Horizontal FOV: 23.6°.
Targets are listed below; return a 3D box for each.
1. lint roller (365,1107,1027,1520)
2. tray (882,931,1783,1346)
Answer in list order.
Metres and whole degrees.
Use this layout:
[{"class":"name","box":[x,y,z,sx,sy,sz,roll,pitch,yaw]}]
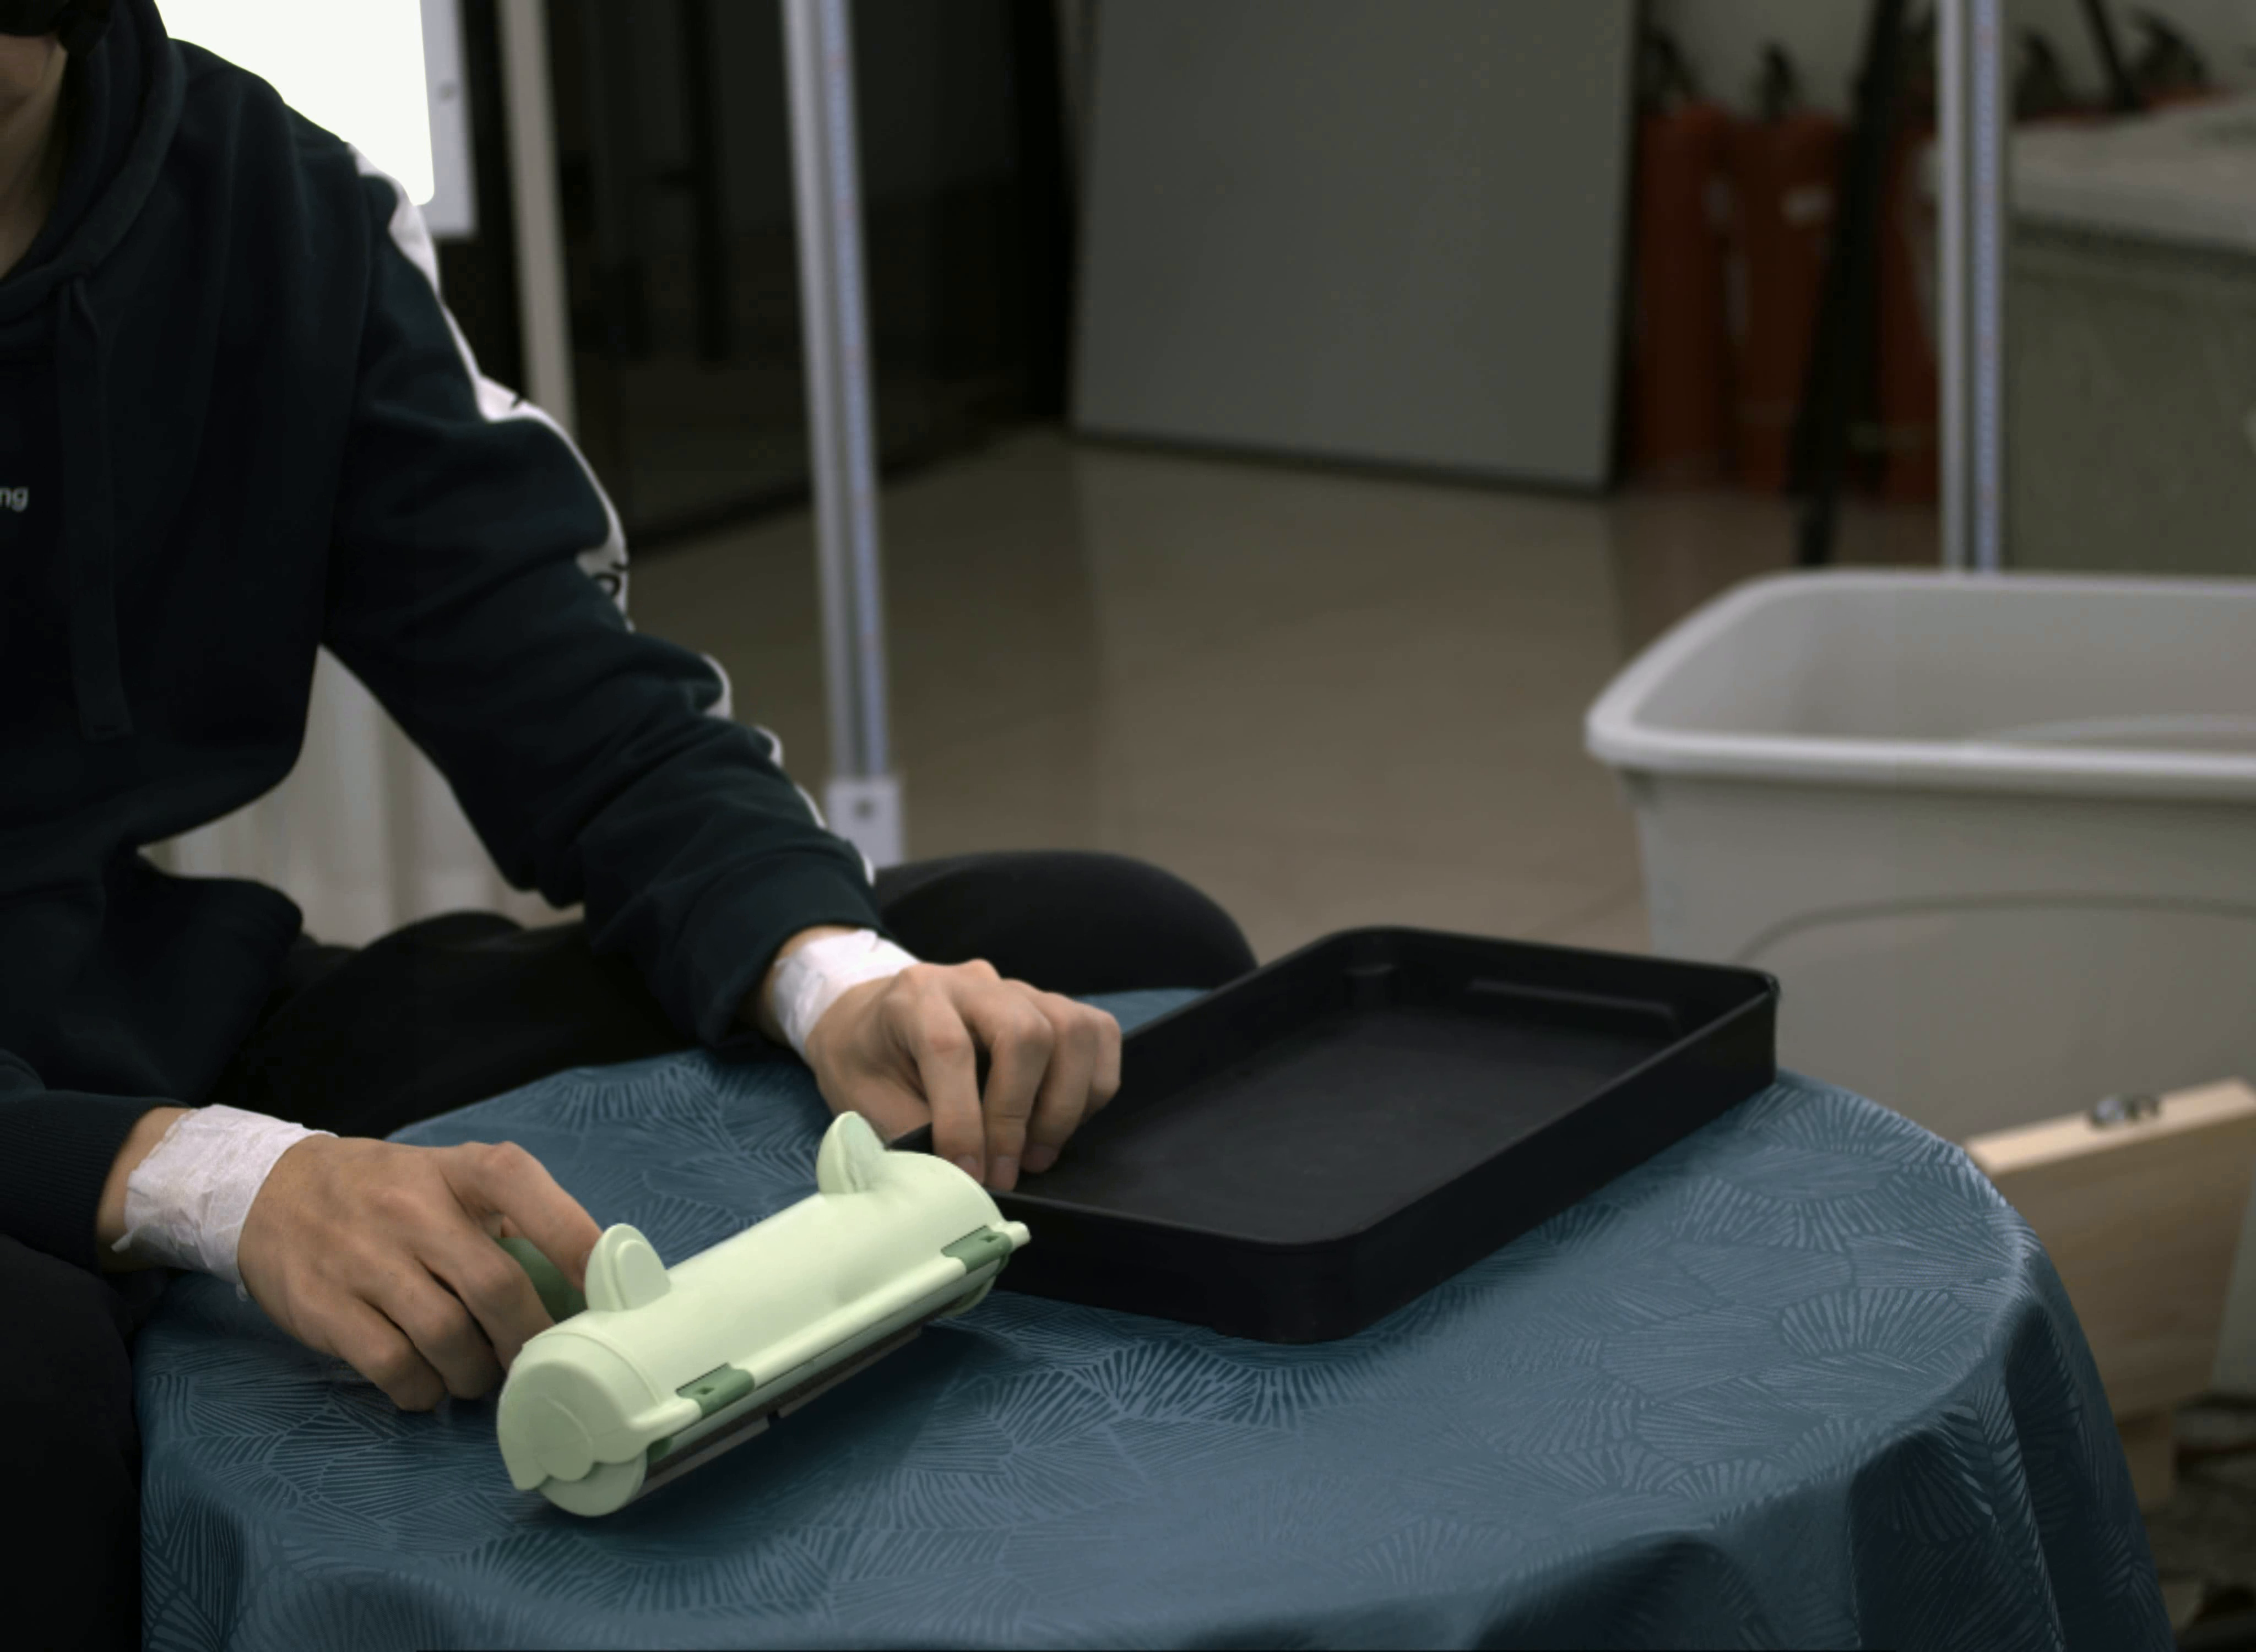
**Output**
[{"class":"lint roller","box":[-0.153,0.128,1.602,0.184,0.083,0.195,13,21,31]},{"class":"tray","box":[0.071,0.097,1.774,0.185,0.037,0.312,6,17,35]}]
